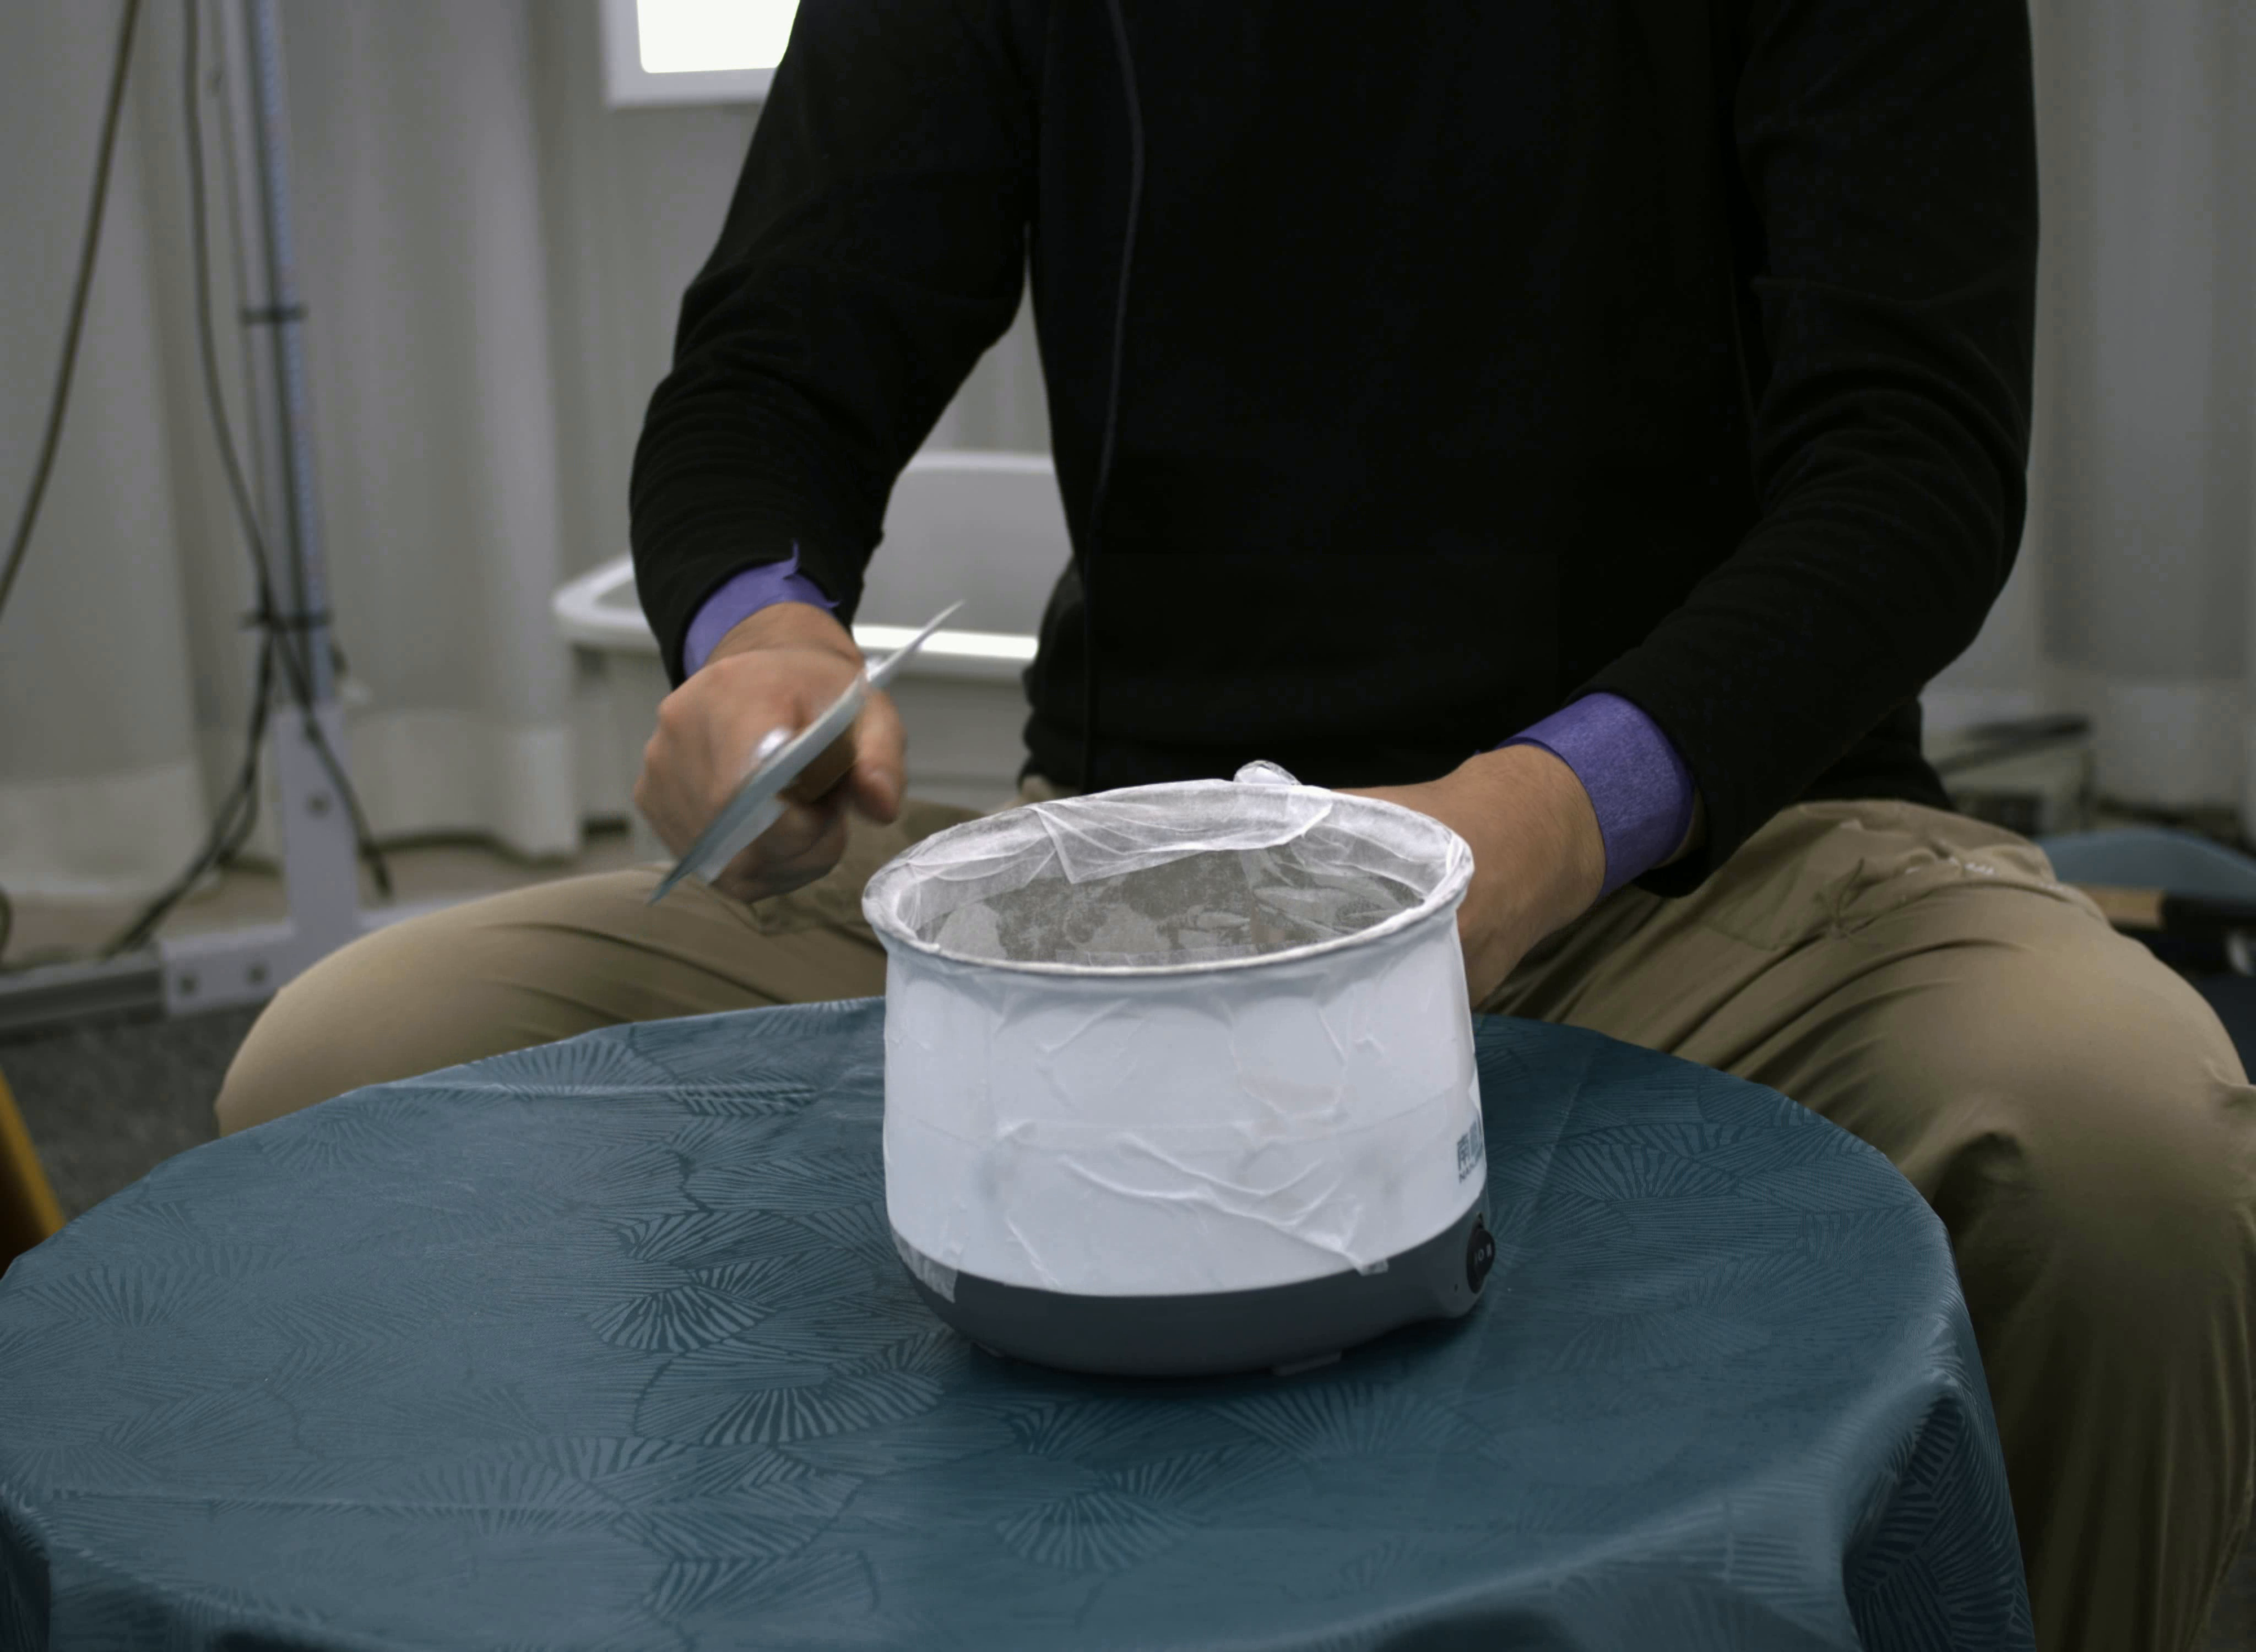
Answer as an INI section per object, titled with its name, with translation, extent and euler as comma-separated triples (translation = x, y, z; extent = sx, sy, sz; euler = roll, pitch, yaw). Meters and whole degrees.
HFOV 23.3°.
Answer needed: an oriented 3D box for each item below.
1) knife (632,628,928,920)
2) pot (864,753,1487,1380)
[knife]
translation = -0.116, -0.006, 1.700
extent = 0.093, 0.021, 0.304
euler = -39, -1, -14
[pot]
translation = 0.023, 0.065, 1.618
extent = 0.178, 0.136, 0.235
euler = 2, 18, 16
